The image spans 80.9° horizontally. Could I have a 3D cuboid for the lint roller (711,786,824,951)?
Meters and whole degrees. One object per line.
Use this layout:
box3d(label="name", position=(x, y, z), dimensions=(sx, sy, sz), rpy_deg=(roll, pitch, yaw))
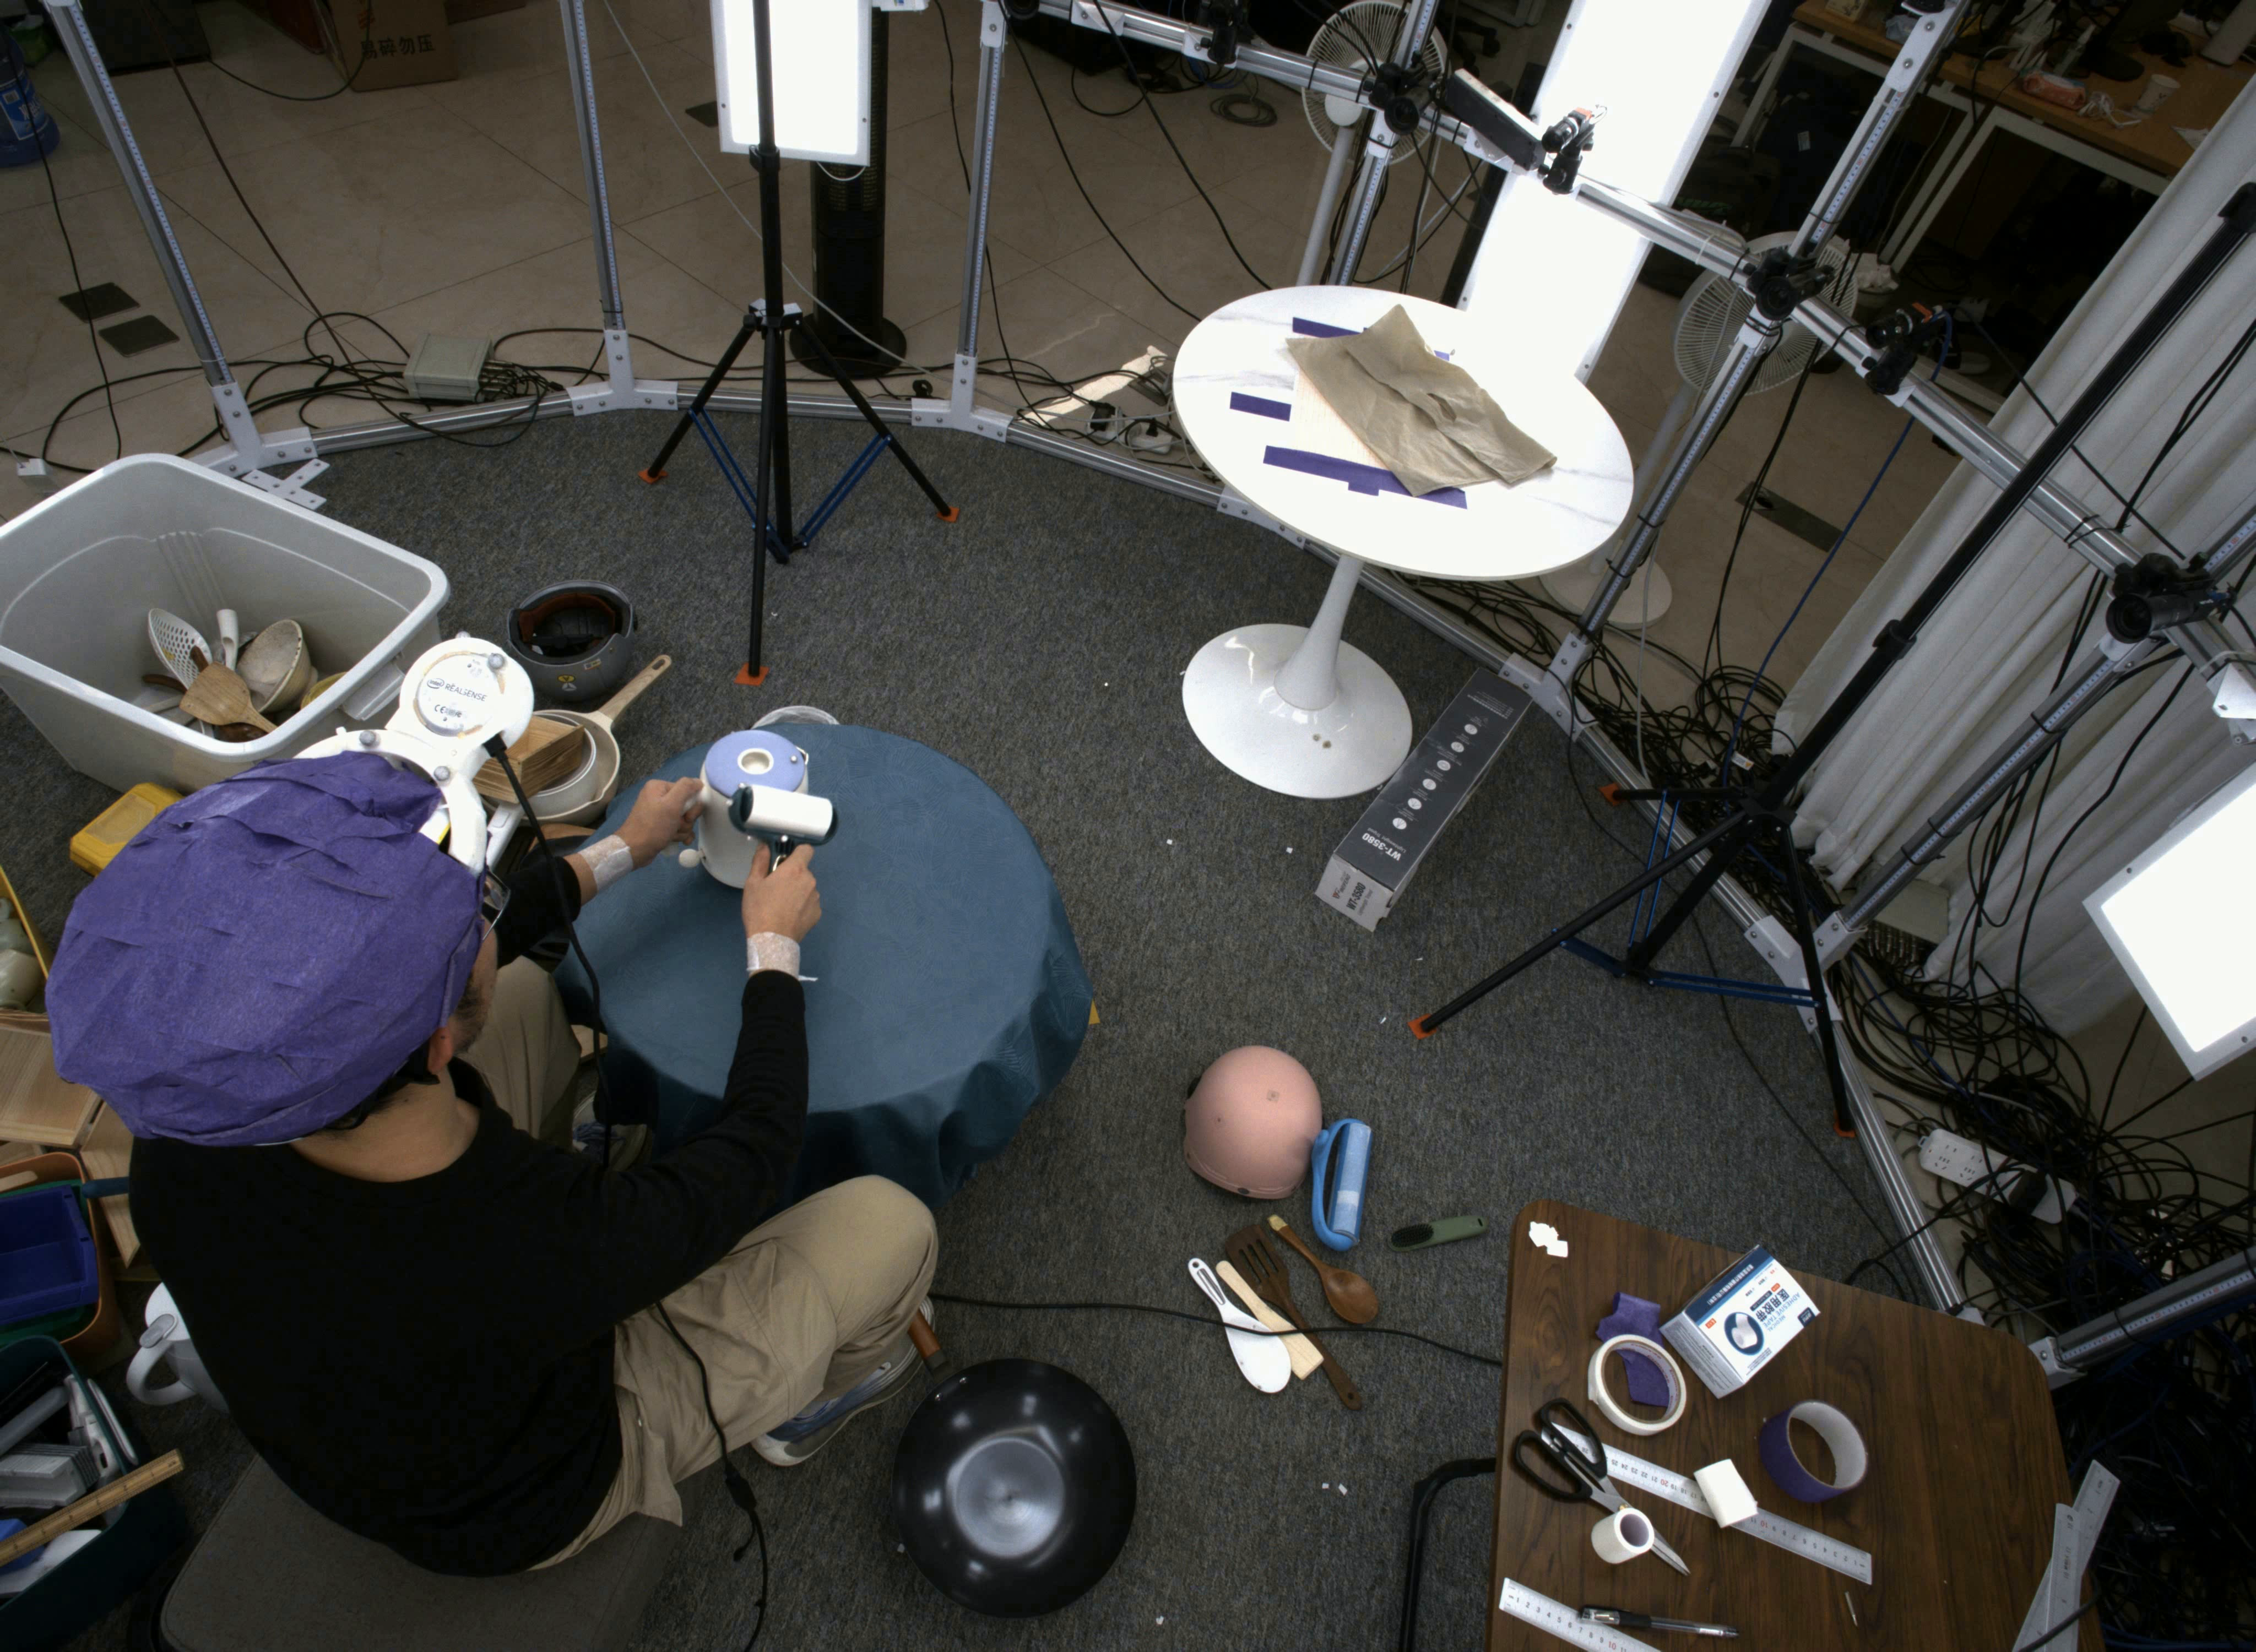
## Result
box3d(label="lint roller", position=(-0.411, 0.047, 1.477), dimensions=(0.137, 0.047, 0.179), rpy_deg=(10, 67, -41))

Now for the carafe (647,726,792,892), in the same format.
box3d(label="carafe", position=(-0.503, -0.013, 1.588), dimensions=(0.192, 0.186, 0.129), rpy_deg=(-24, 60, -31))
